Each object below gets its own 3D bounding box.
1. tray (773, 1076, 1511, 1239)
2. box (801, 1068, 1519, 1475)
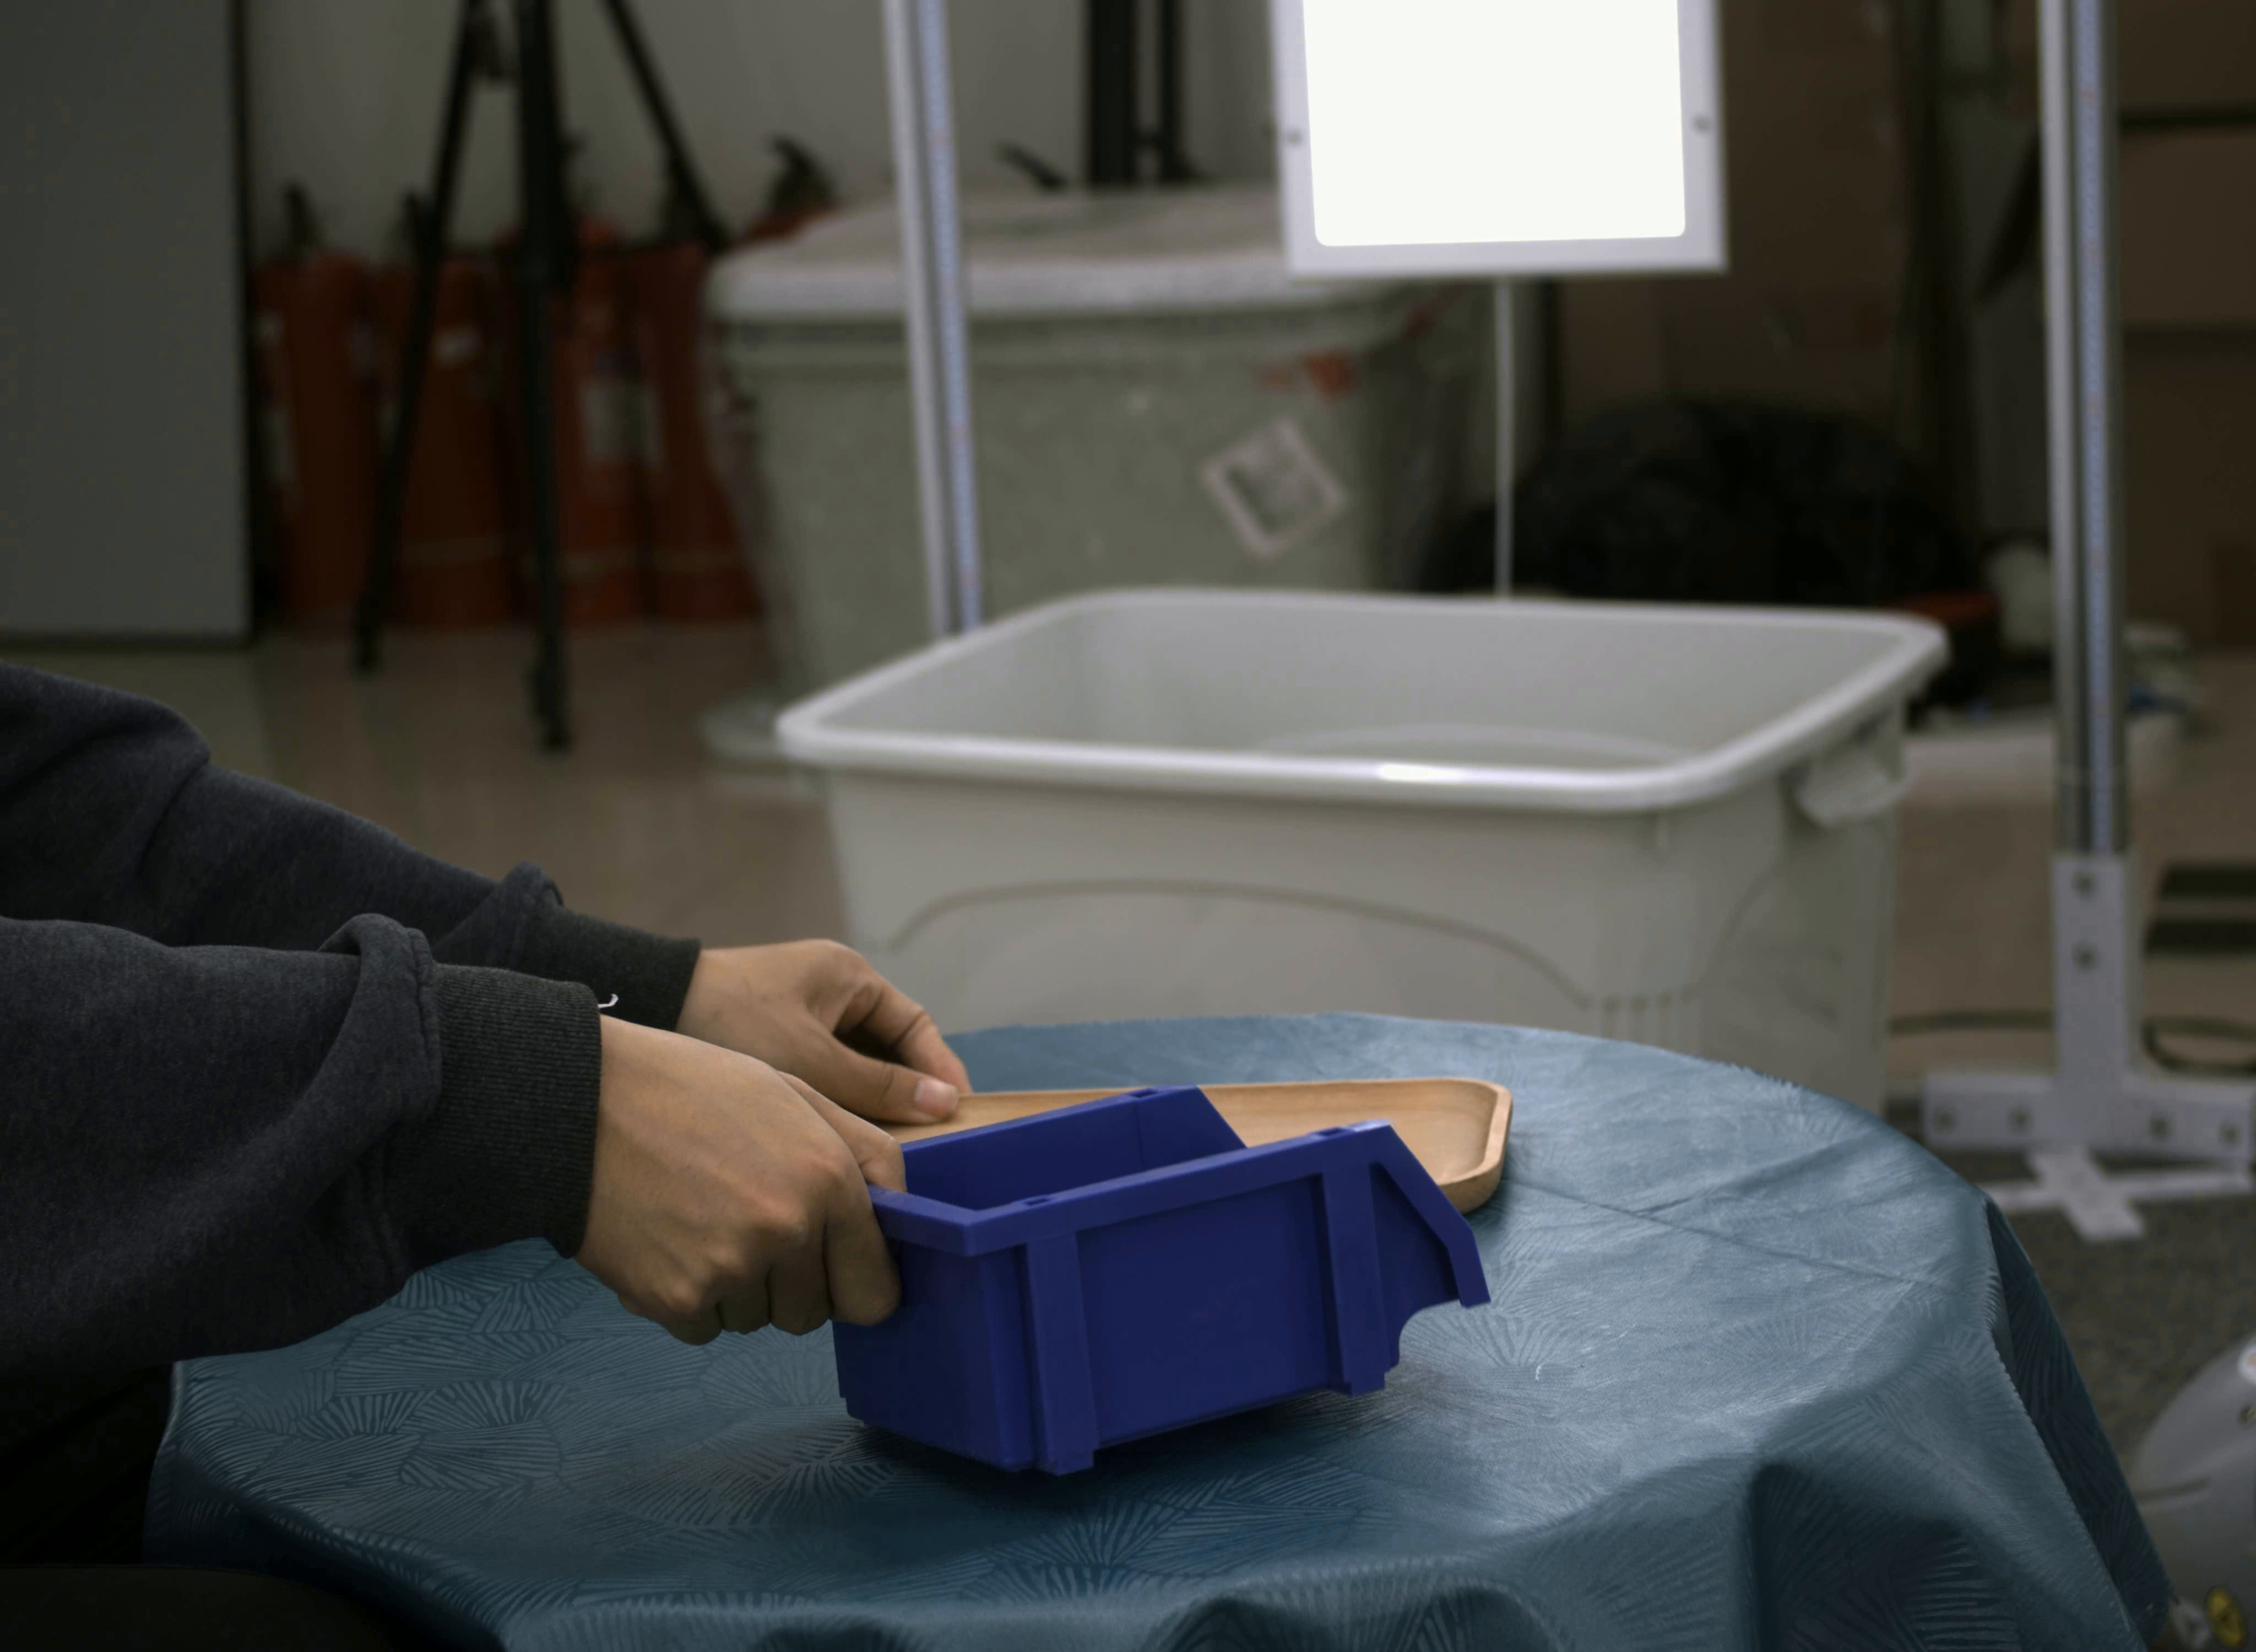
[{"bbox_3d":[0.007,0.115,1.906,0.252,0.023,0.129,-3,11,11],"label":"tray"},{"bbox_3d":[0.010,0.131,1.675,0.175,0.082,0.127,-14,11,-26],"label":"box"}]
